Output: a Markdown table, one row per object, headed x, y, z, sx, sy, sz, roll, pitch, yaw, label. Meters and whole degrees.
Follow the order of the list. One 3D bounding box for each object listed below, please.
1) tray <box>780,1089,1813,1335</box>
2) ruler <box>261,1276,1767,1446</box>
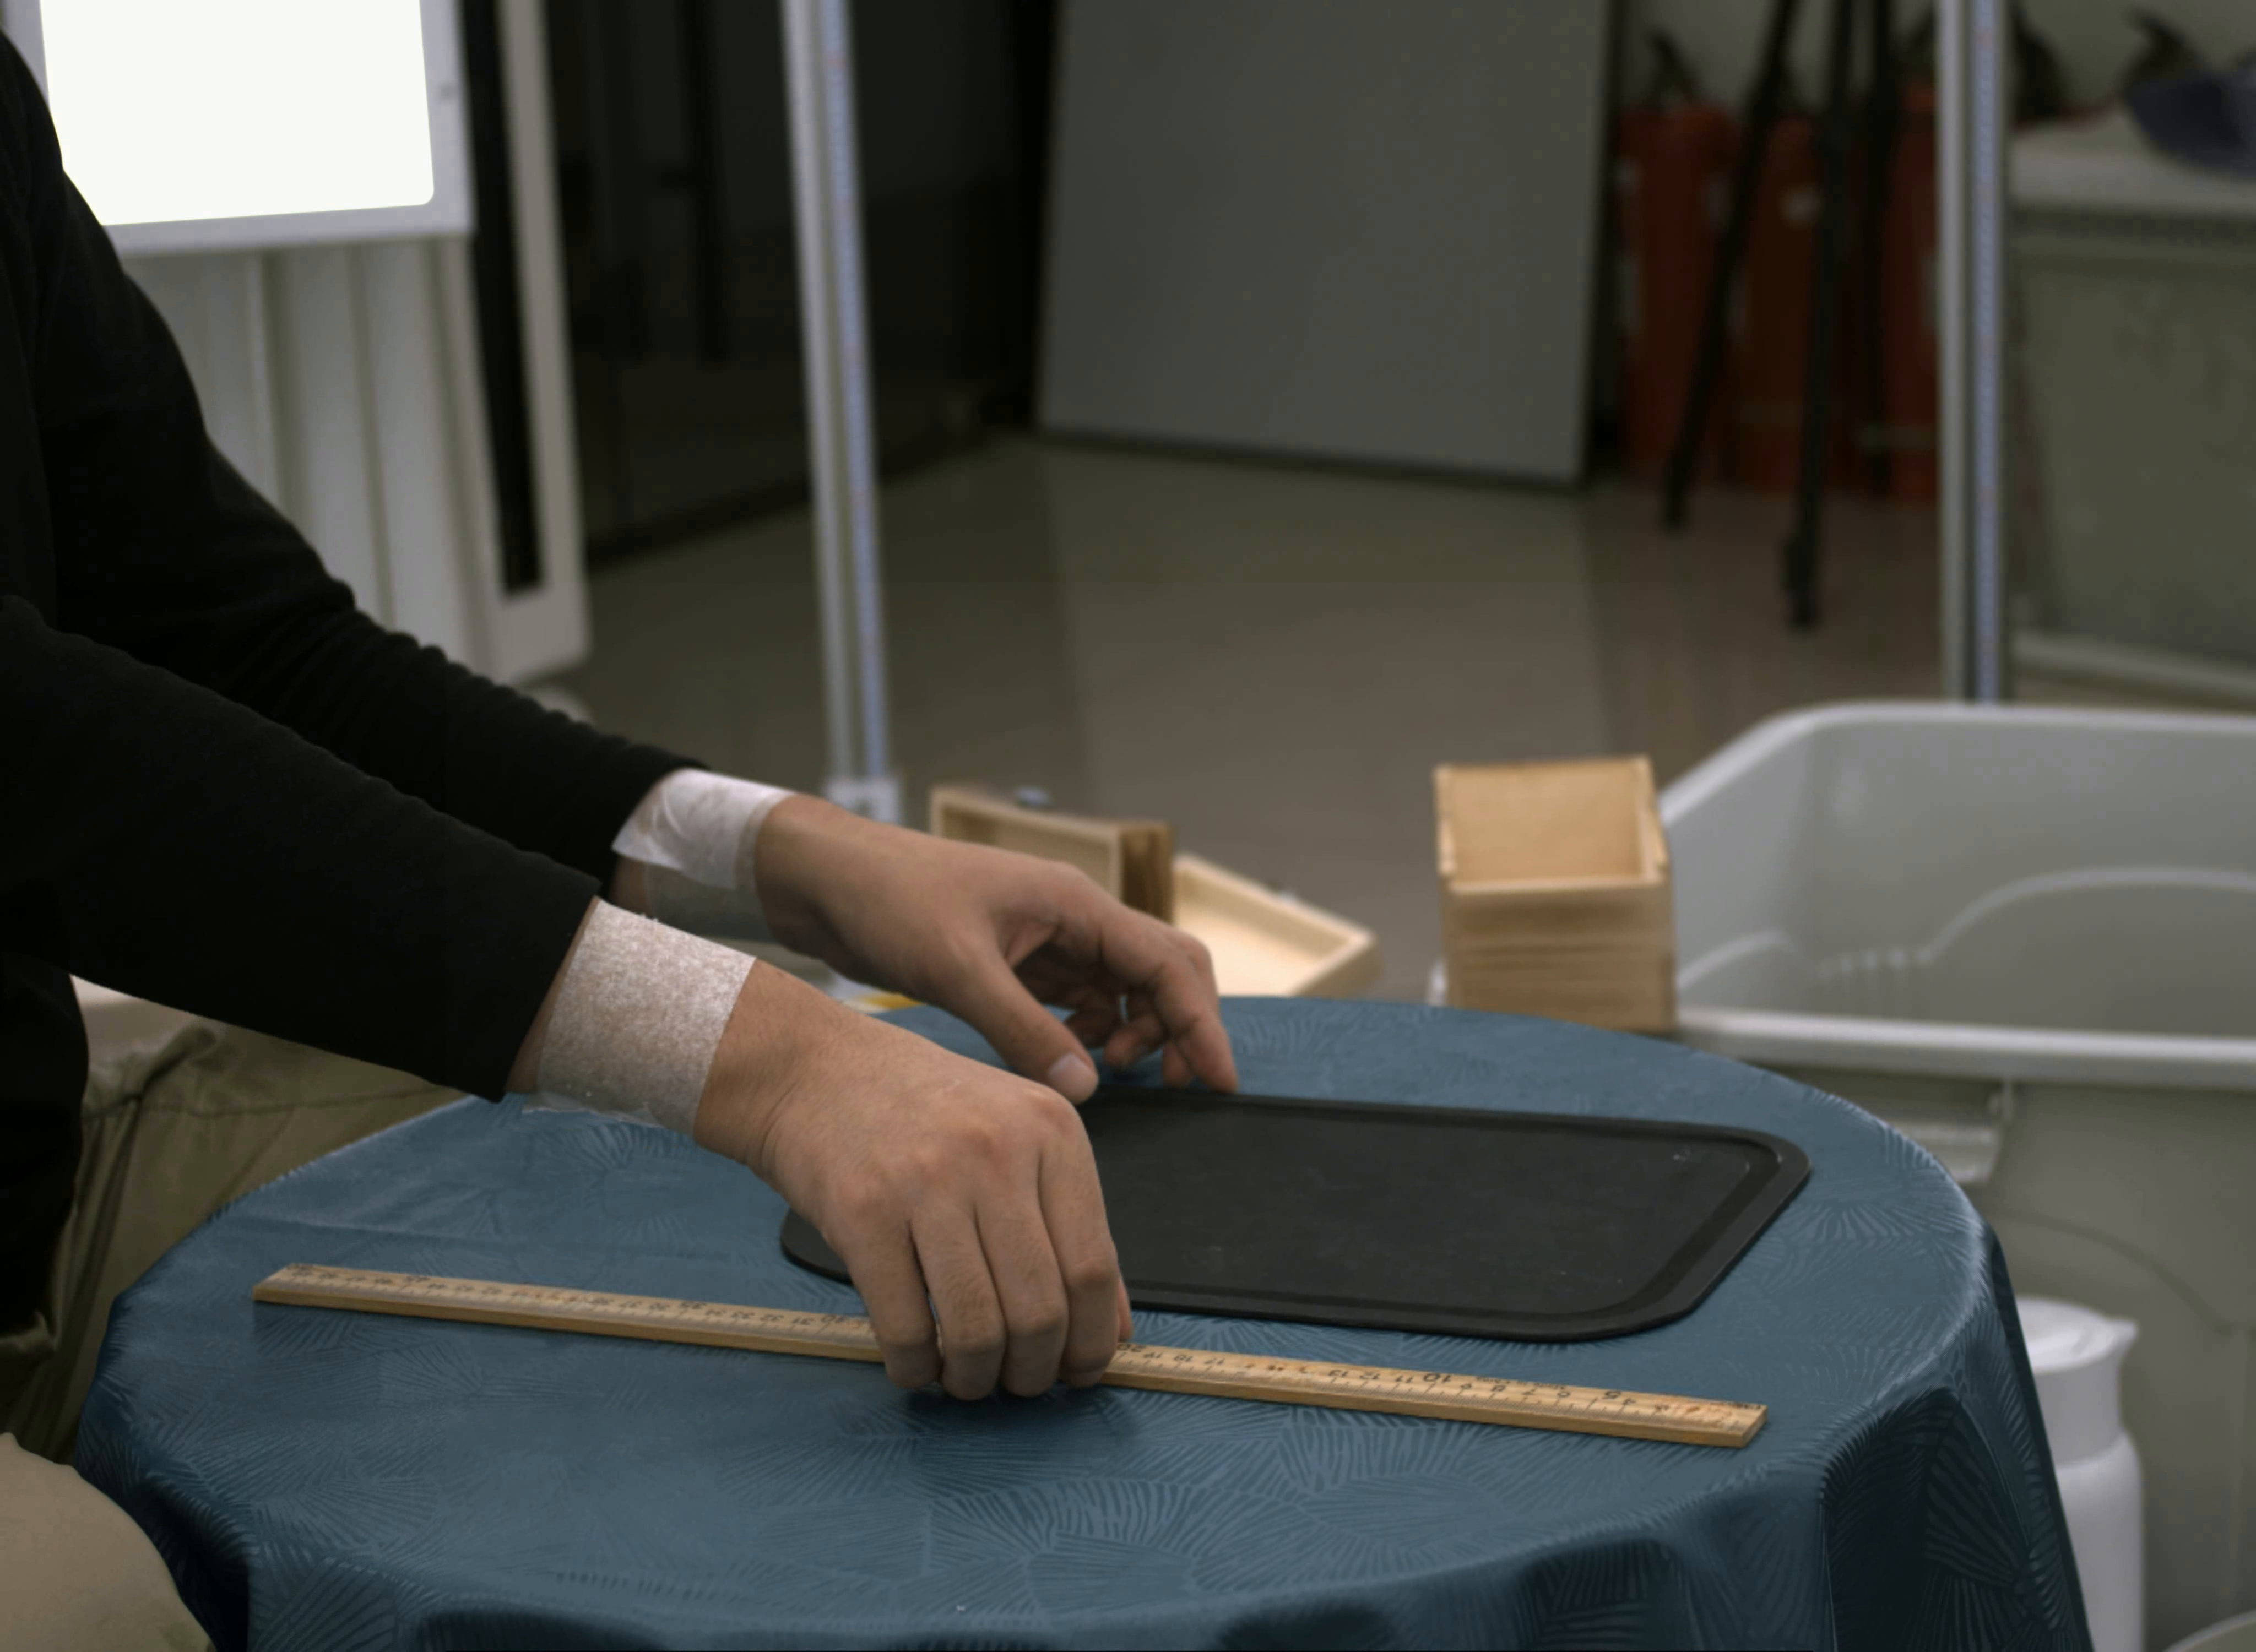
| x | y | z | sx | sy | sz | roll | pitch | yaw | label |
| --- | --- | --- | --- | --- | --- | --- | --- | --- | --- |
| 0.048 | 0.120 | 1.742 | 0.326 | 0.010 | 0.208 | 2 | 15 | 25 | tray |
| -0.047 | 0.158 | 1.622 | 0.501 | 0.006 | 0.026 | 3 | 13 | 26 | ruler |
